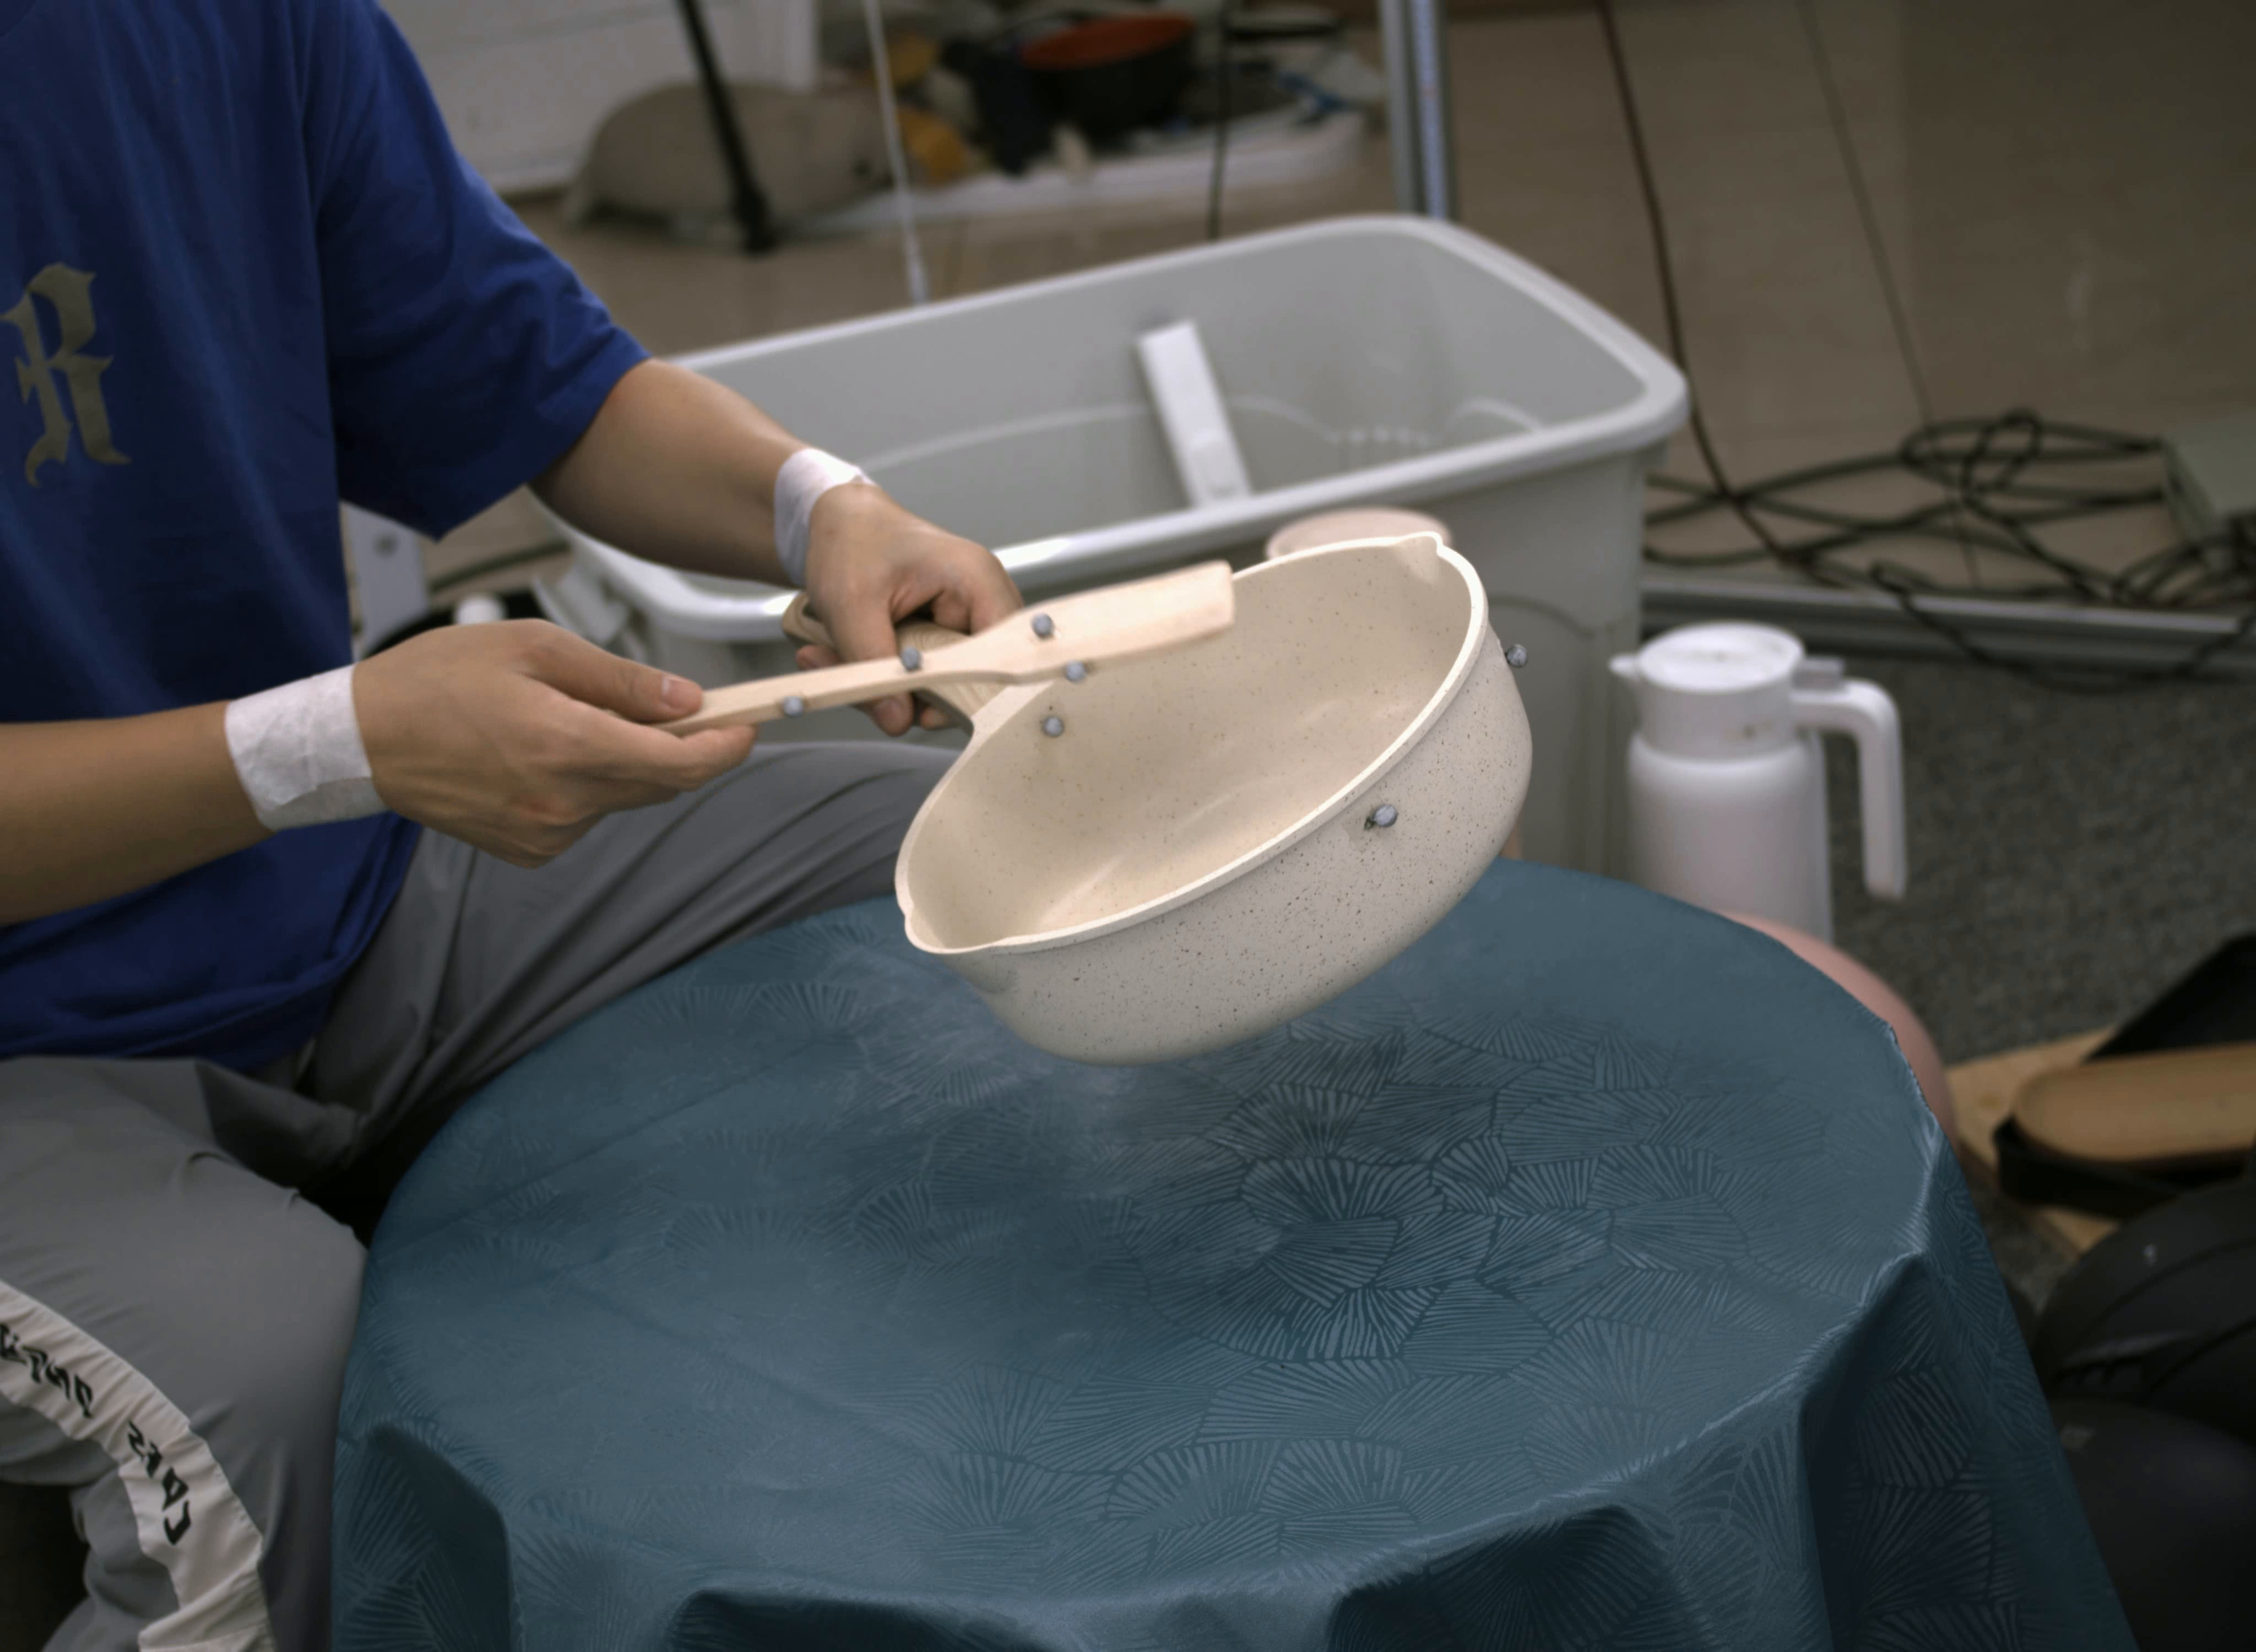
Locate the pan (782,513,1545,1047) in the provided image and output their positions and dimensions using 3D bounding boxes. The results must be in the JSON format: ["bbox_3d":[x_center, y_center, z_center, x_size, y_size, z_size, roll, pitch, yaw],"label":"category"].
[{"bbox_3d":[-0.005,-0.029,2.217,0.261,0.103,0.432,-40,26,-19],"label":"pan"}]

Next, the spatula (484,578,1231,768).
[{"bbox_3d":[-0.104,-0.054,2.162,0.292,0.011,0.071,-10,23,4],"label":"spatula"}]
